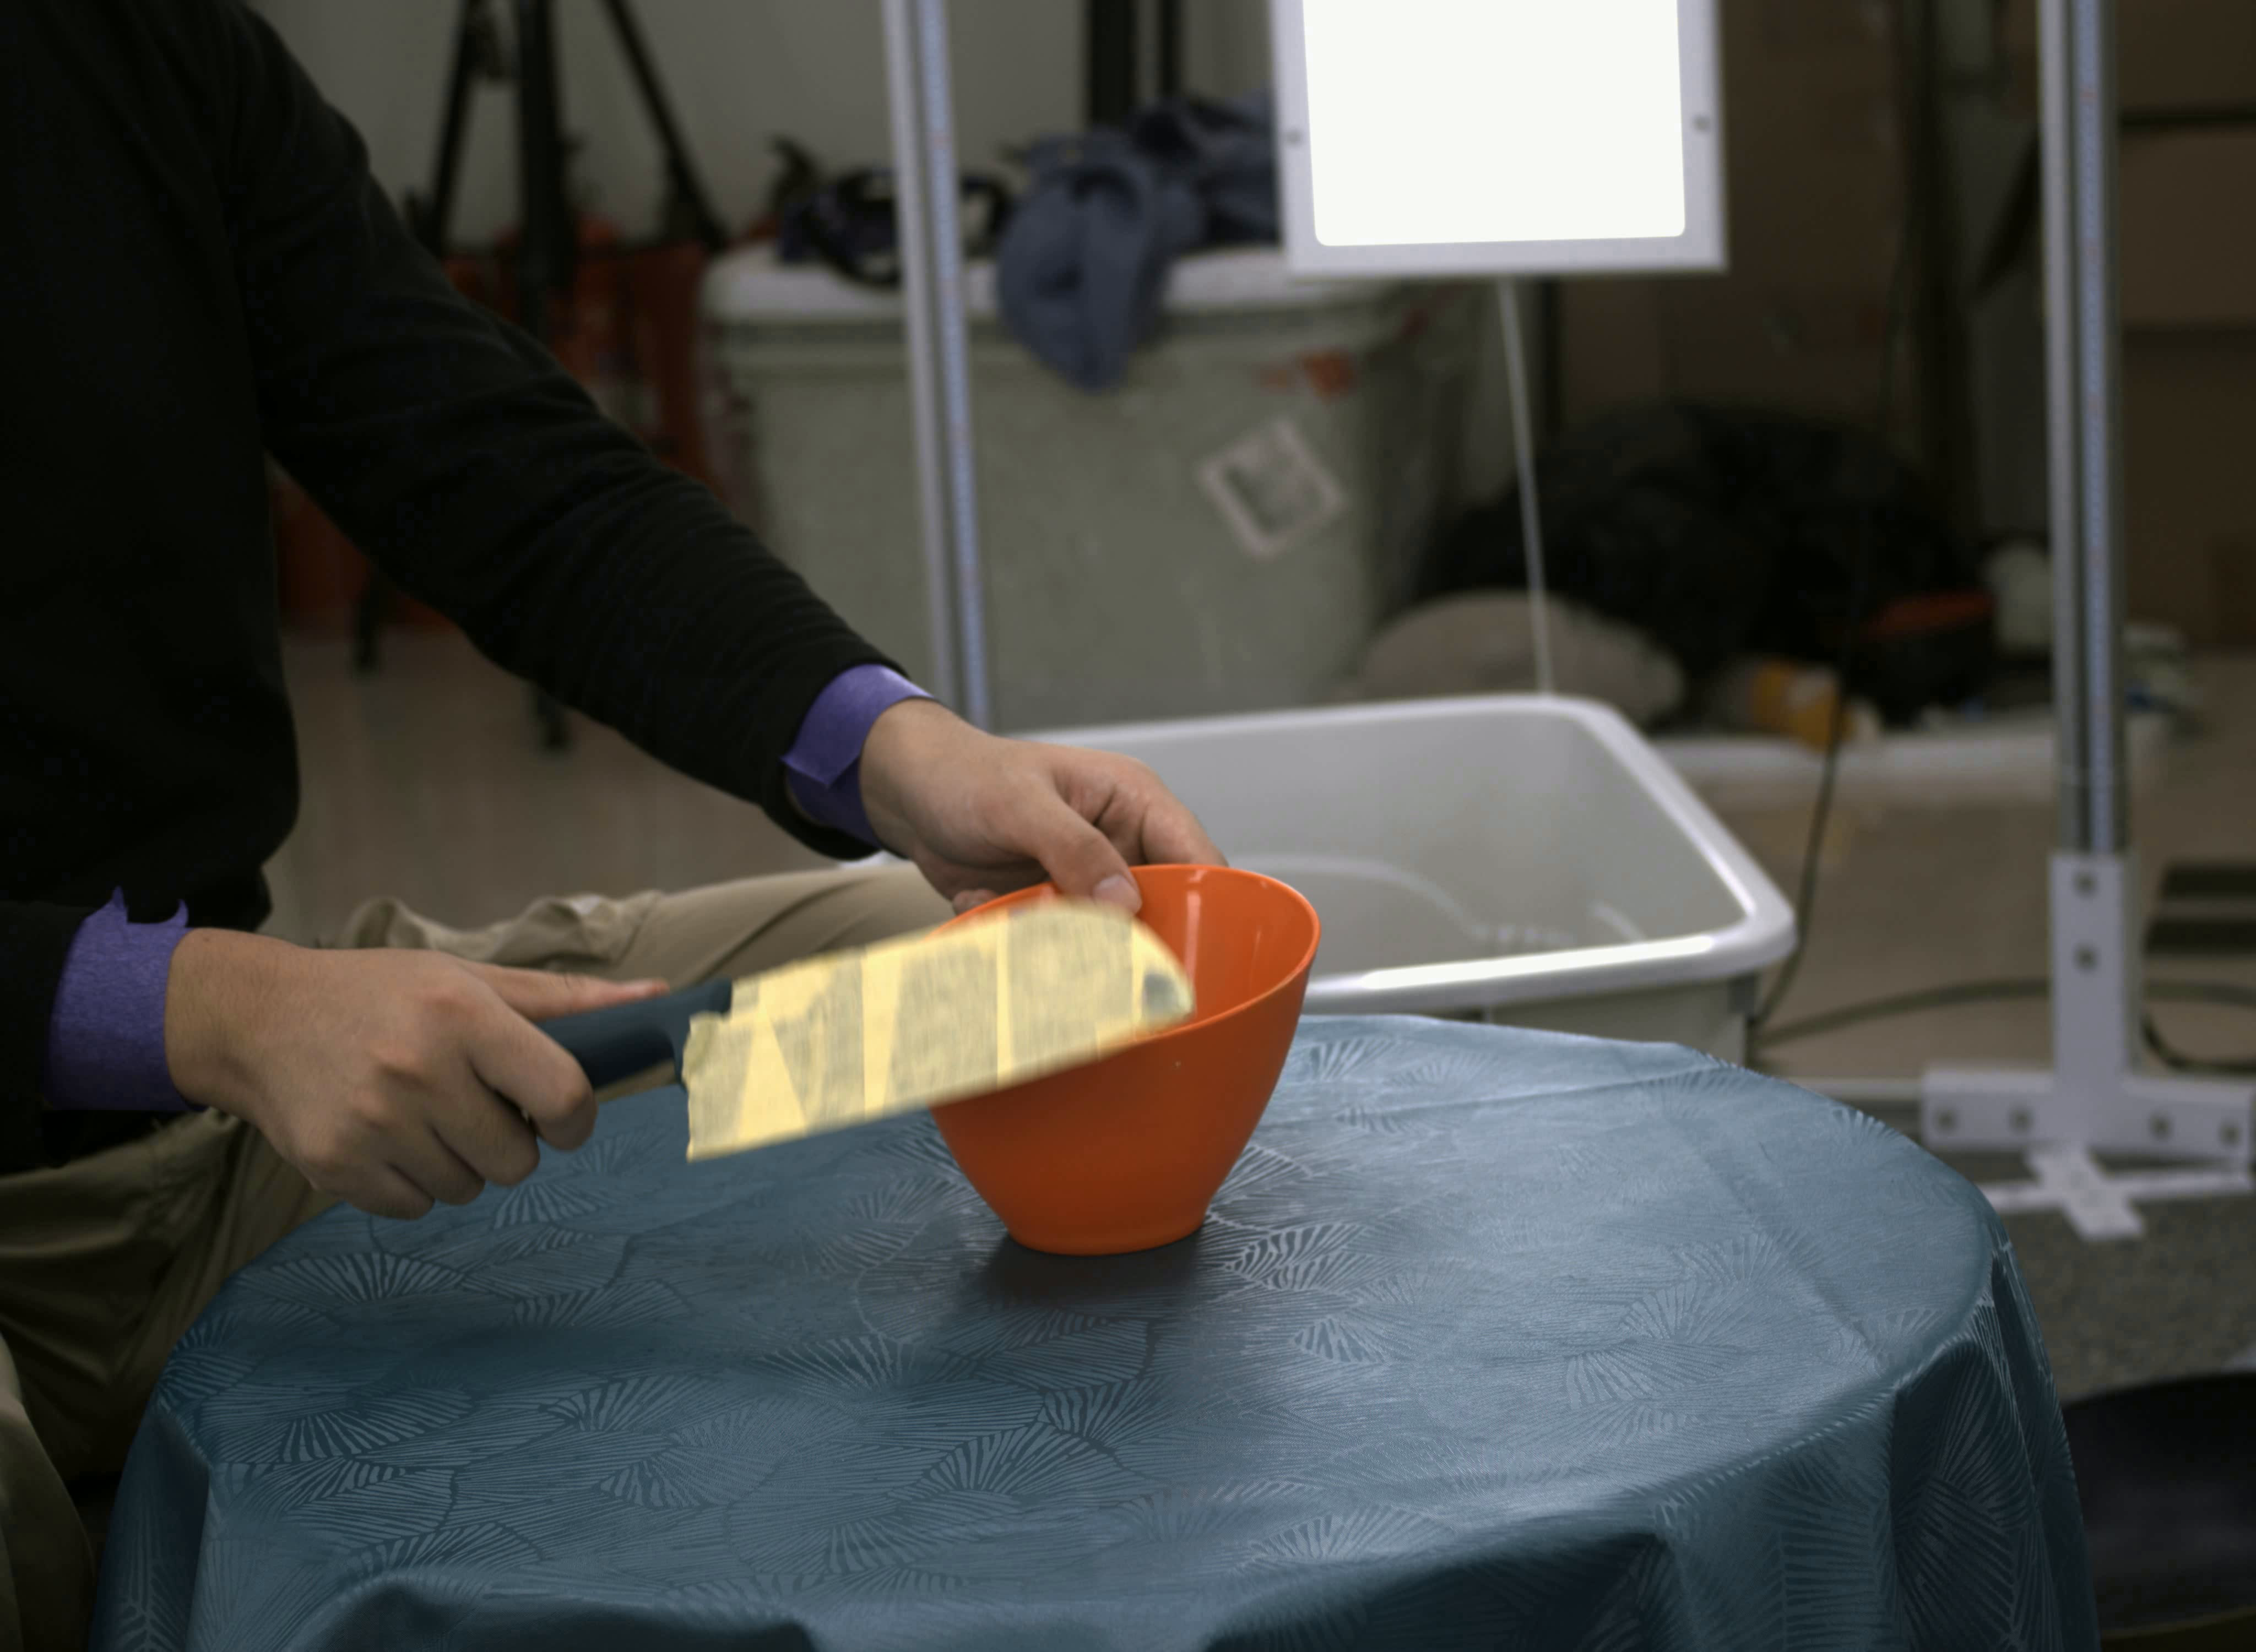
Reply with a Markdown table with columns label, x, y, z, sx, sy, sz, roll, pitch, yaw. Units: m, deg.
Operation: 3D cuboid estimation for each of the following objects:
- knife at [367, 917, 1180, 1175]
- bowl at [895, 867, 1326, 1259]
| label | x | y | z | sx | sy | sz | roll | pitch | yaw |
| --- | --- | --- | --- | --- | --- | --- | --- | --- | --- |
| knife | -0.117 | 0.079 | 1.778 | 0.293 | 0.027 | 0.080 | -13 | 42 | 20 |
| bowl | -0.004 | 0.084 | 1.861 | 0.147 | 0.105 | 0.148 | -4 | 15 | 0 |
